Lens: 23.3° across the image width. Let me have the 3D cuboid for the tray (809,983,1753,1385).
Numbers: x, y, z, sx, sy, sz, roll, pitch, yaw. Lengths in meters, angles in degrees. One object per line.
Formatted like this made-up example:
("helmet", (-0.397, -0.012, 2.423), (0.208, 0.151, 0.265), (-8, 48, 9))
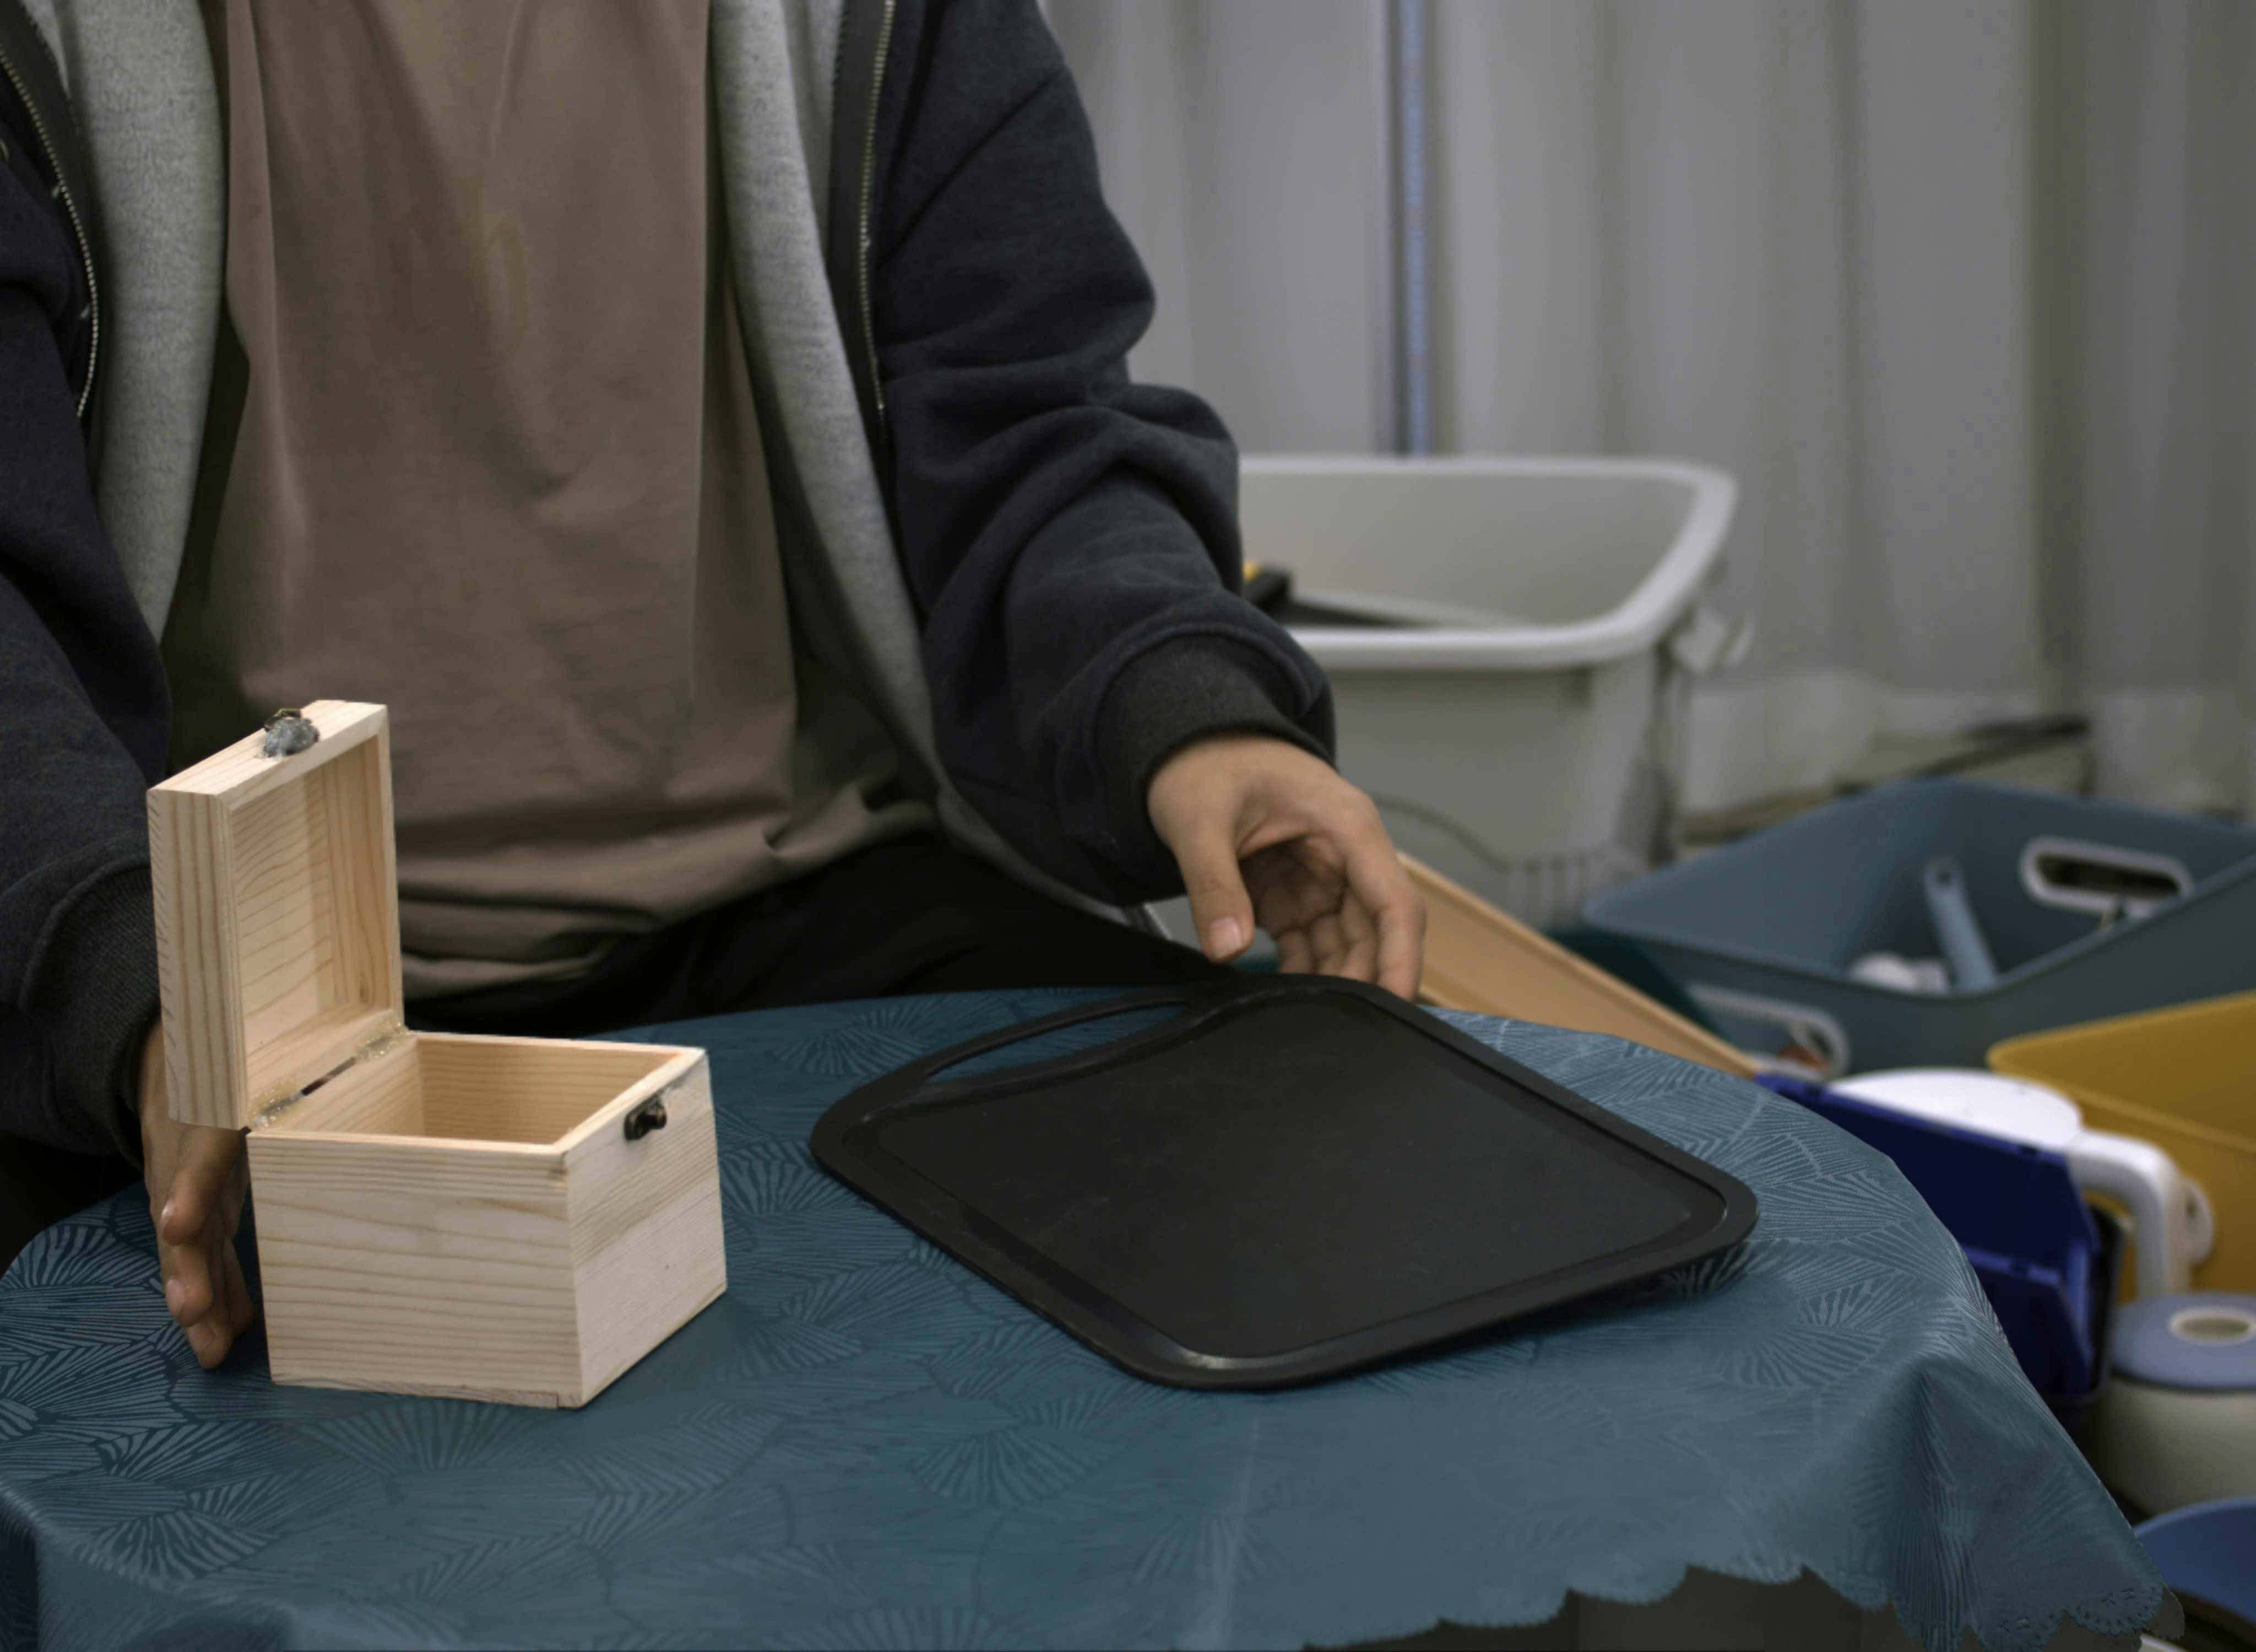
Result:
("tray", (0.036, 0.103, 1.705), (0.210, 0.010, 0.328), (-14, 19, -23))

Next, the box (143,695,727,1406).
("box", (-0.198, 0.062, 1.595), (0.134, 0.184, 0.103), (1, 15, 20))
